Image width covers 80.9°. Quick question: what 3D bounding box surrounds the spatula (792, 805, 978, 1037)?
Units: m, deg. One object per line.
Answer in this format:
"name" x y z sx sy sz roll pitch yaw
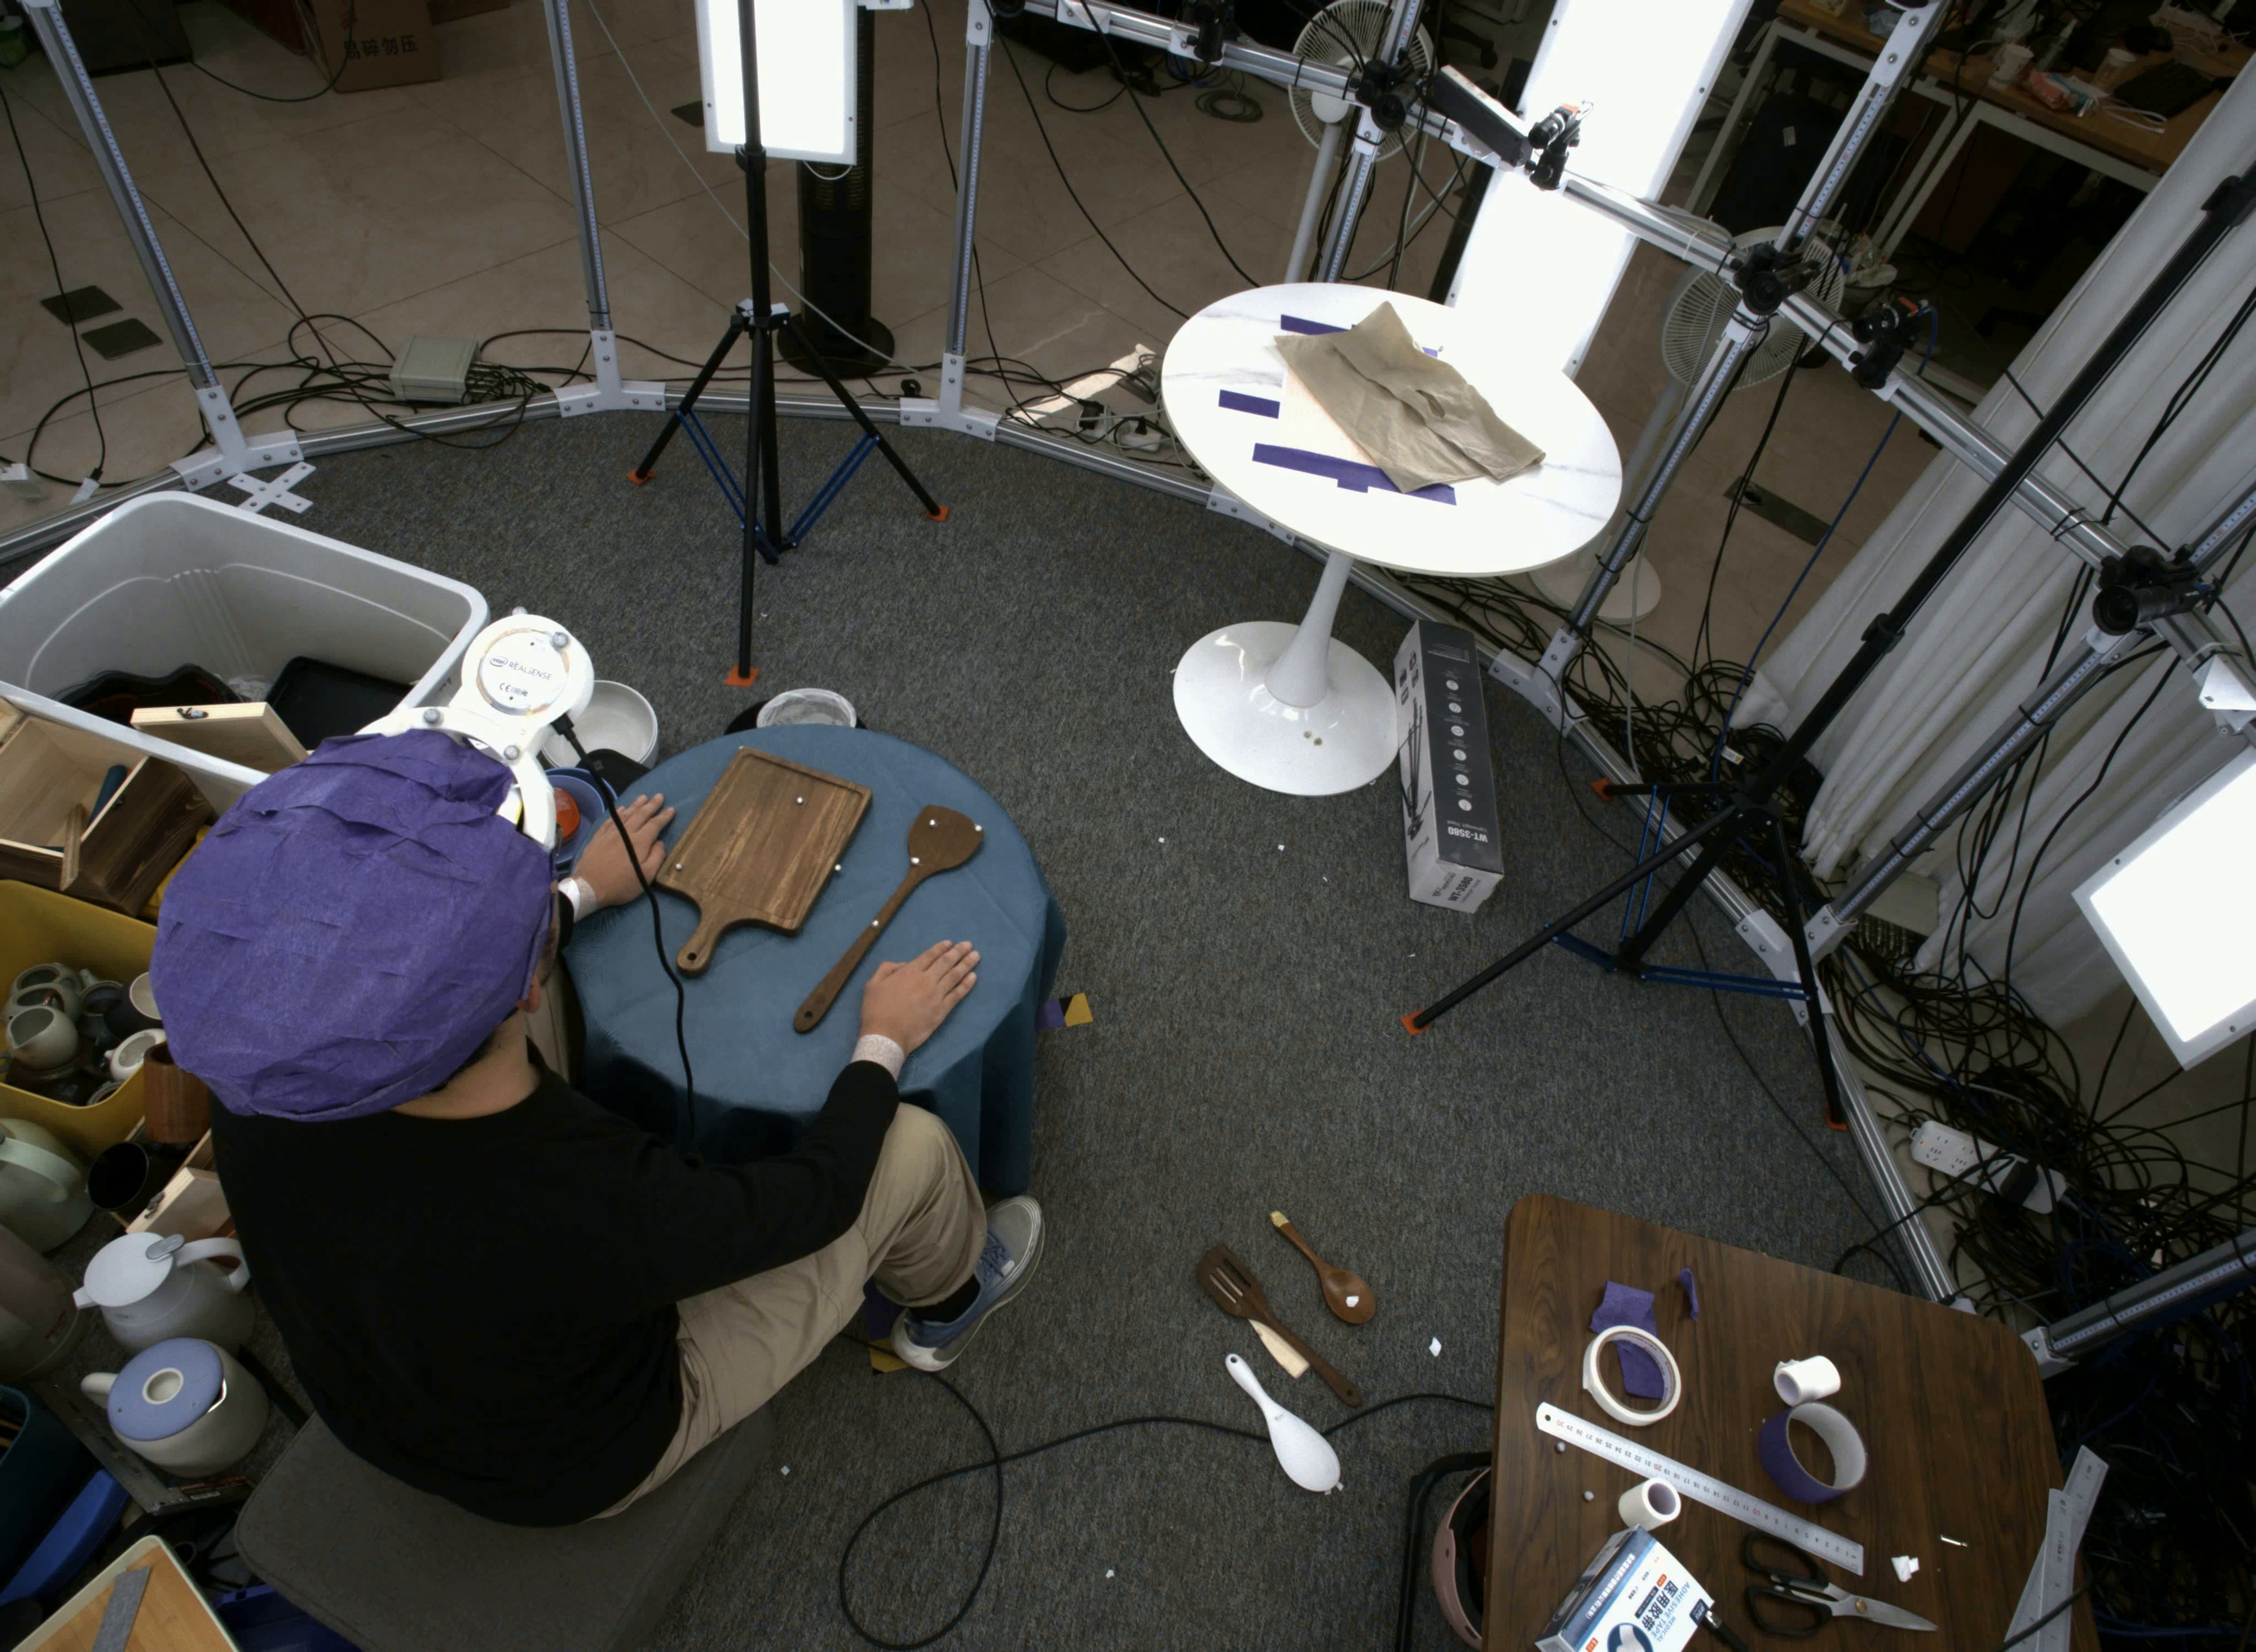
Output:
"spatula" -0.314 0.113 1.653 0.095 0.016 0.383 26 52 6

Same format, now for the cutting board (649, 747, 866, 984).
"cutting board" -0.489 0.051 1.650 0.199 0.023 0.348 19 52 0
